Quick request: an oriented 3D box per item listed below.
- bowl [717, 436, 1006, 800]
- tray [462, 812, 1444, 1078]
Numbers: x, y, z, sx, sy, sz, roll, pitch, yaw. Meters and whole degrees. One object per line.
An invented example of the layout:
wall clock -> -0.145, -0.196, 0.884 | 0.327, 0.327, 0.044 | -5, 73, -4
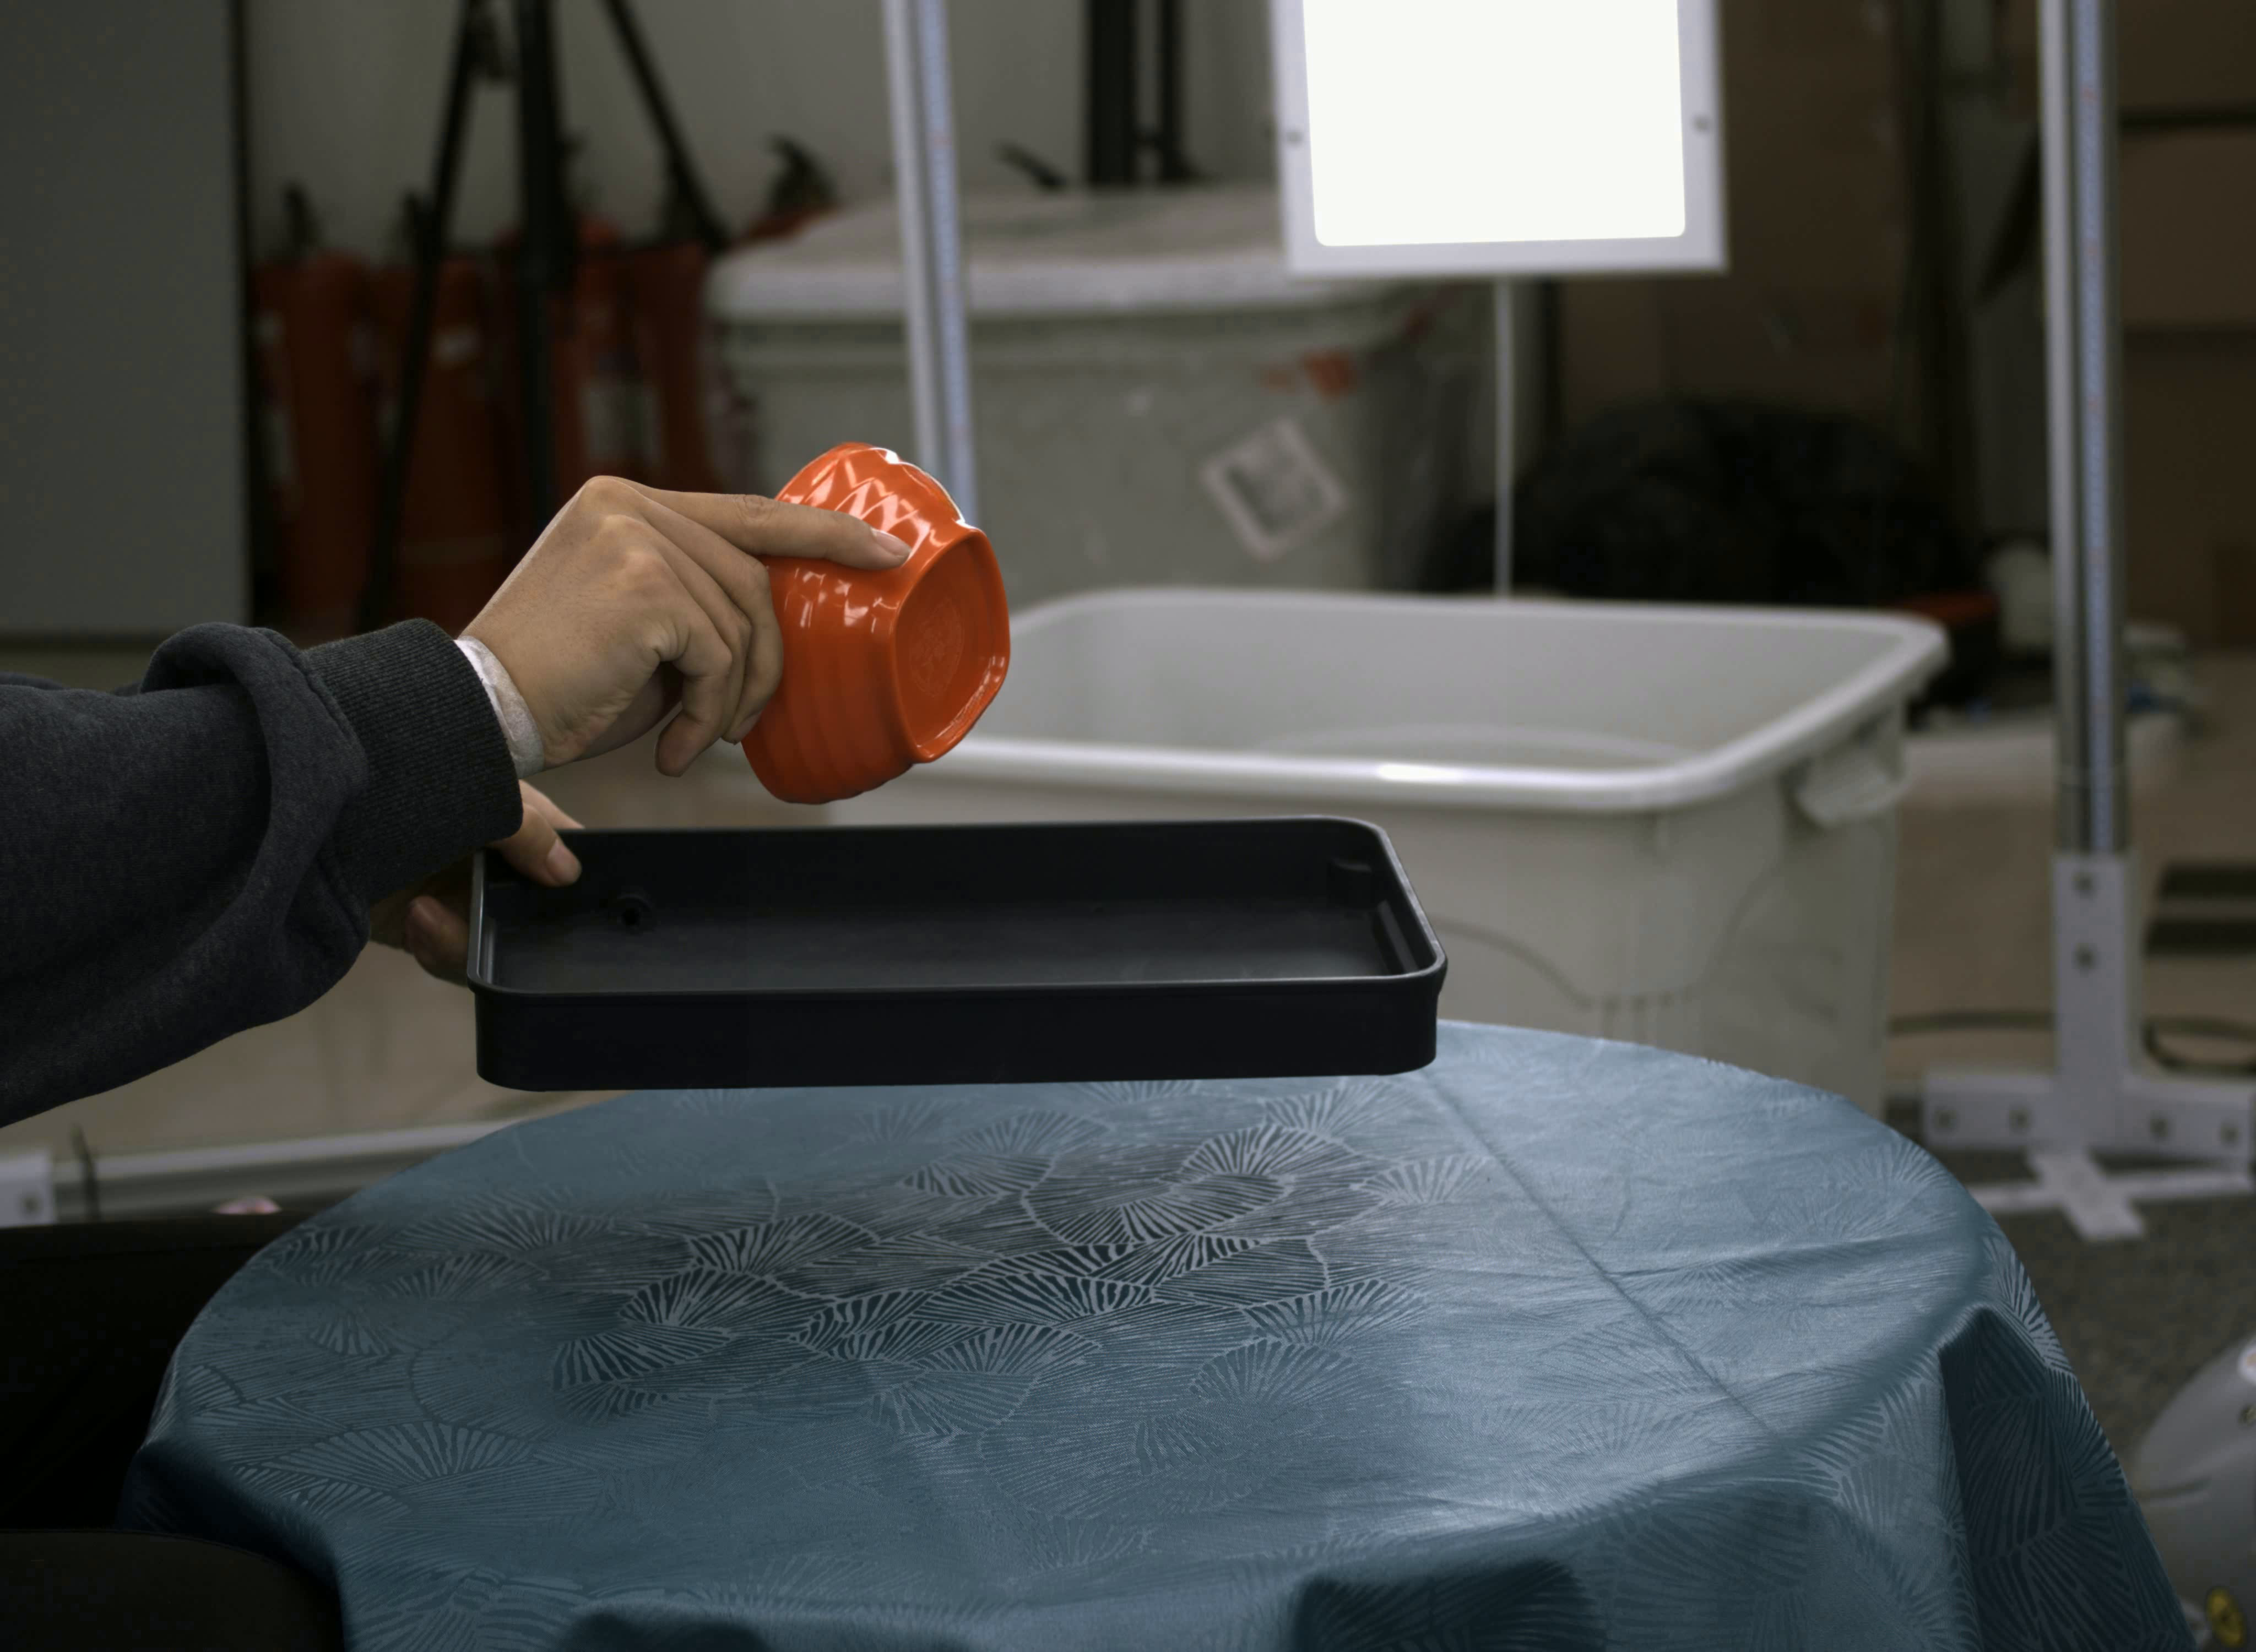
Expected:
bowl -> -0.079, -0.062, 1.756 | 0.052, 0.119, 0.116 | 14, 21, 29
tray -> -0.062, 0.038, 1.840 | 0.316, 0.037, 0.184 | 0, 16, -4
